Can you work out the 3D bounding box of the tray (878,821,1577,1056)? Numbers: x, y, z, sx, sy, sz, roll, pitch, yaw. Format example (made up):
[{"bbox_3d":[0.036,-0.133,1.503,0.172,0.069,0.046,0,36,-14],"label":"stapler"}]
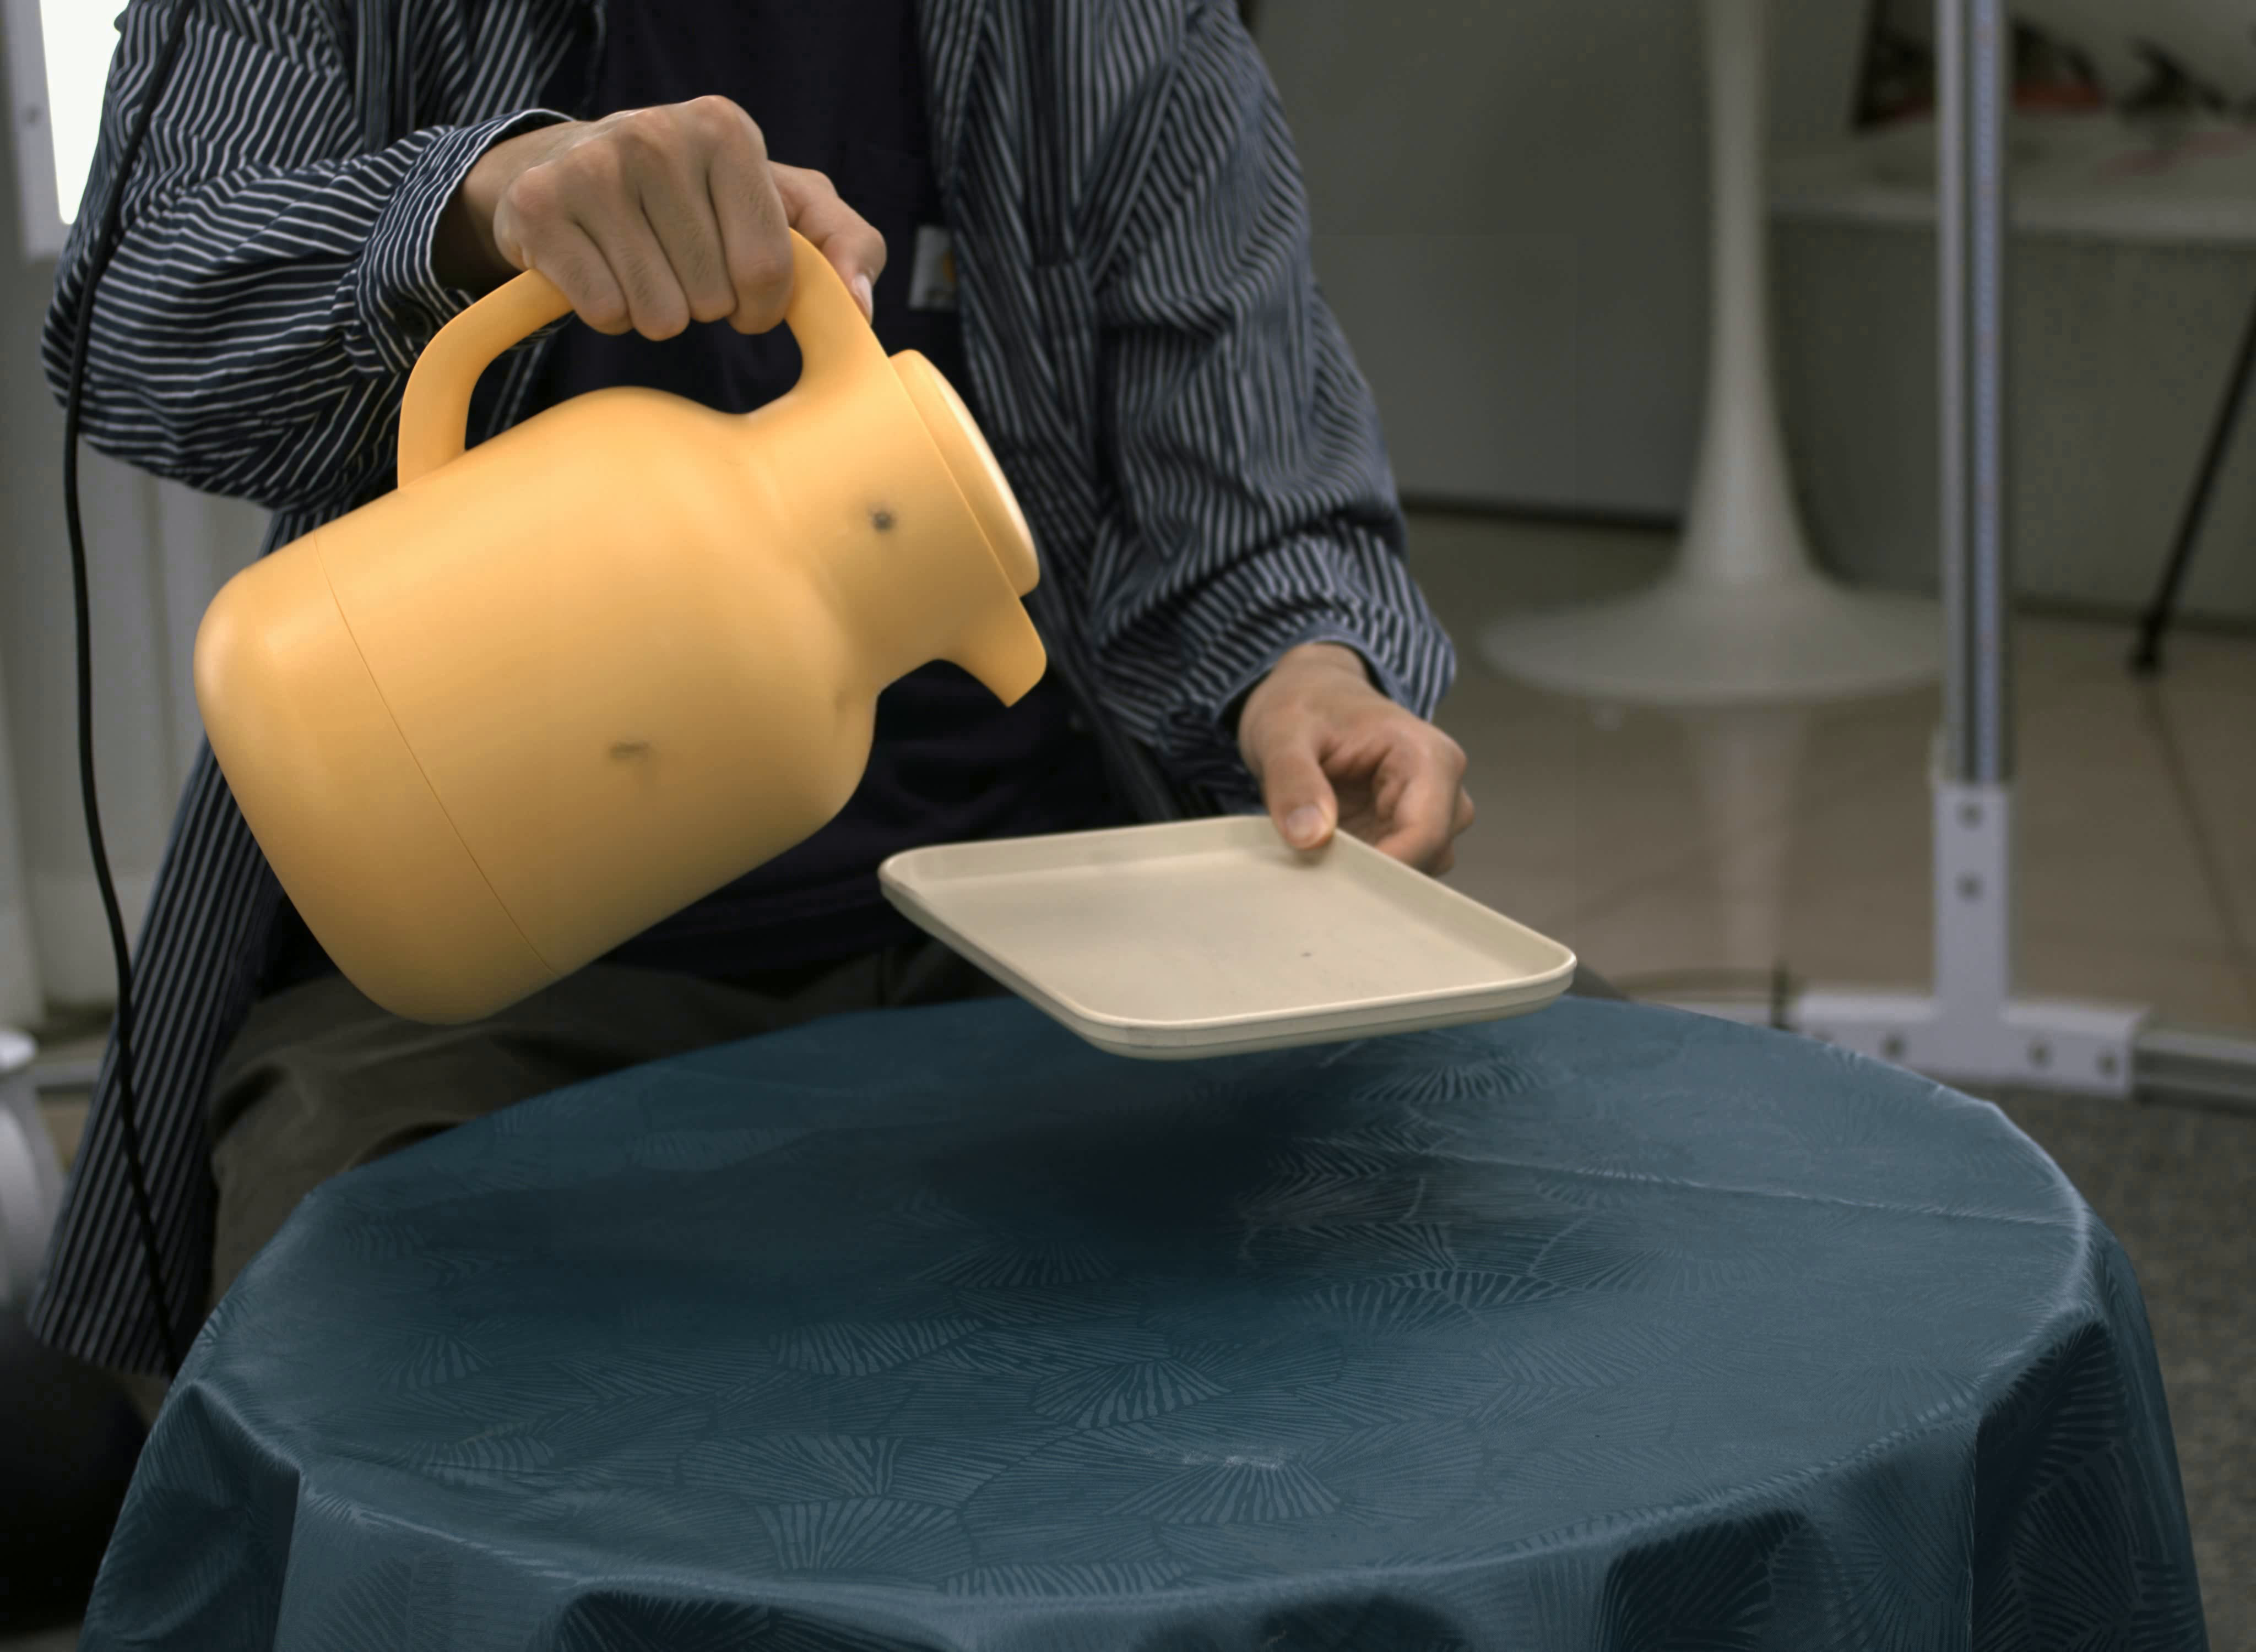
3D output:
[{"bbox_3d":[0.029,0.036,1.757,0.167,0.018,0.242,-5,14,-21],"label":"tray"}]

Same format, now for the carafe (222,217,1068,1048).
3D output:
[{"bbox_3d":[-0.158,-0.068,1.725,0.258,0.203,0.164,-28,6,0],"label":"carafe"}]
